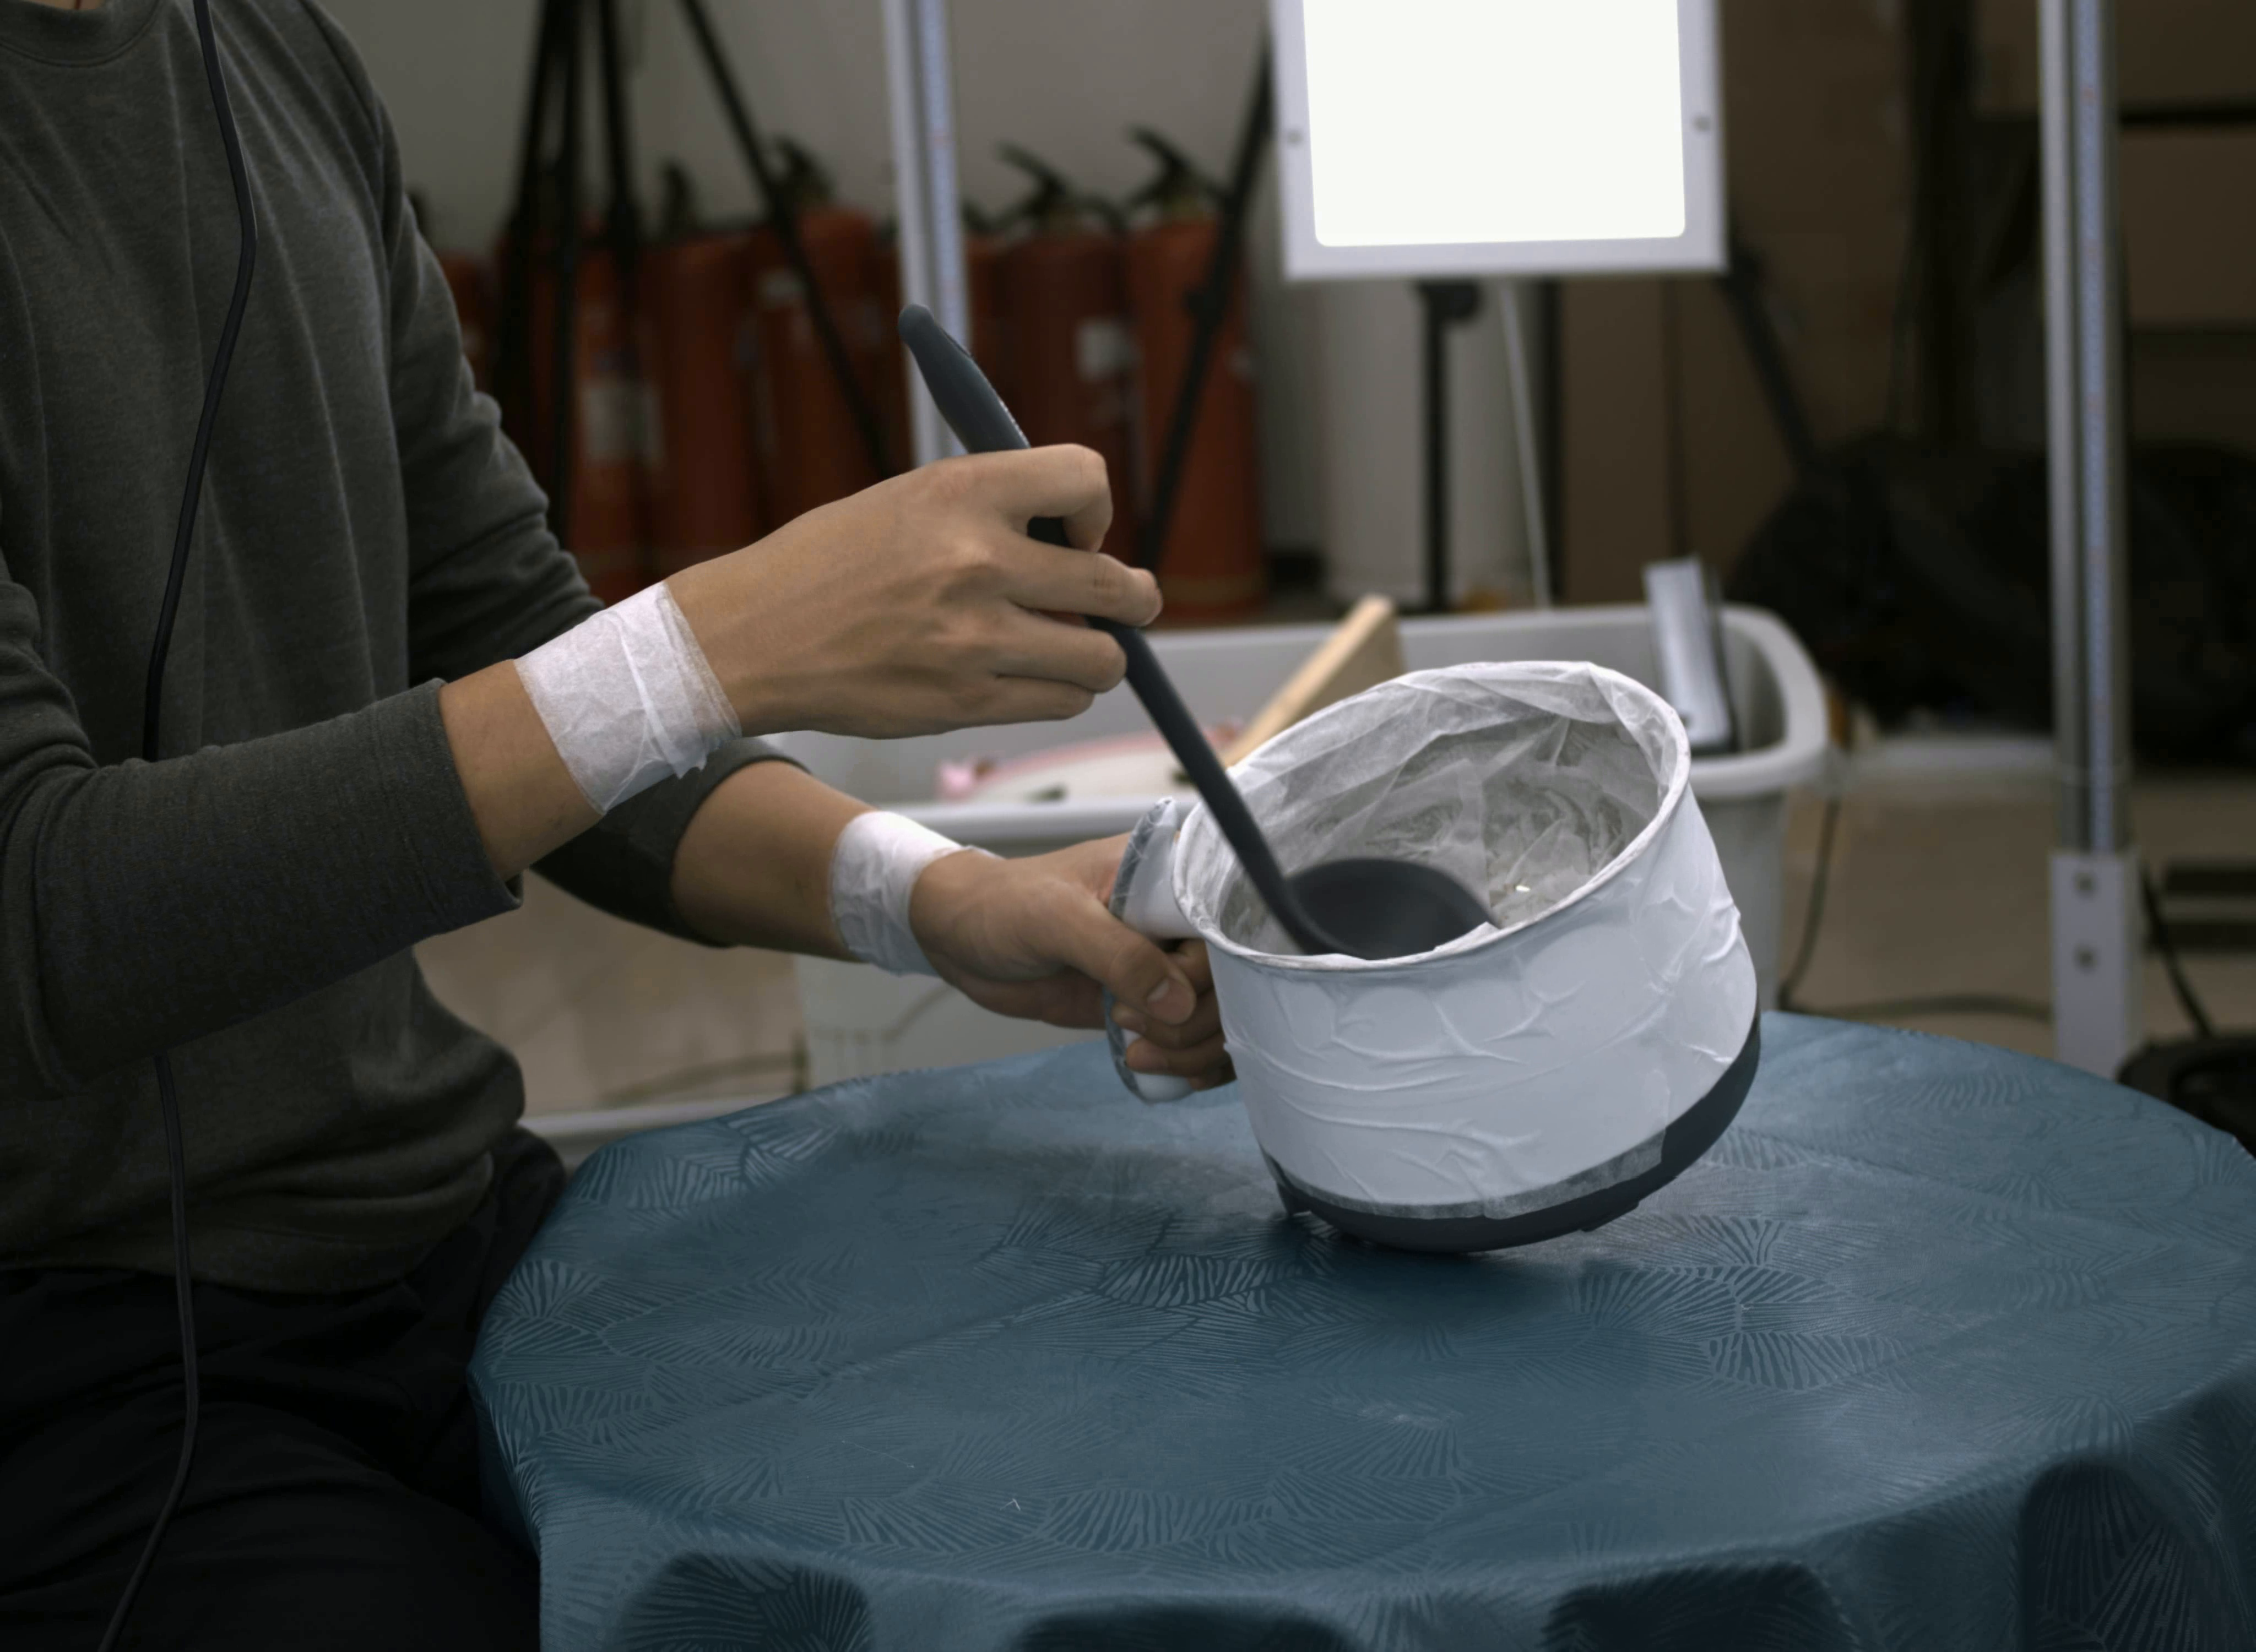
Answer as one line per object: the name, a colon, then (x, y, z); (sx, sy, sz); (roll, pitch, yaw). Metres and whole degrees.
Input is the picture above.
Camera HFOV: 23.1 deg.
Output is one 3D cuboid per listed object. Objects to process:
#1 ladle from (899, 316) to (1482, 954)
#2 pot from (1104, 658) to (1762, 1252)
ladle: (0.026, -0.054, 1.763); (0.064, 0.312, 0.087); (-34, 29, -1)
pot: (0.092, 0.046, 1.842); (0.238, 0.136, 0.176); (-2, 34, 29)
